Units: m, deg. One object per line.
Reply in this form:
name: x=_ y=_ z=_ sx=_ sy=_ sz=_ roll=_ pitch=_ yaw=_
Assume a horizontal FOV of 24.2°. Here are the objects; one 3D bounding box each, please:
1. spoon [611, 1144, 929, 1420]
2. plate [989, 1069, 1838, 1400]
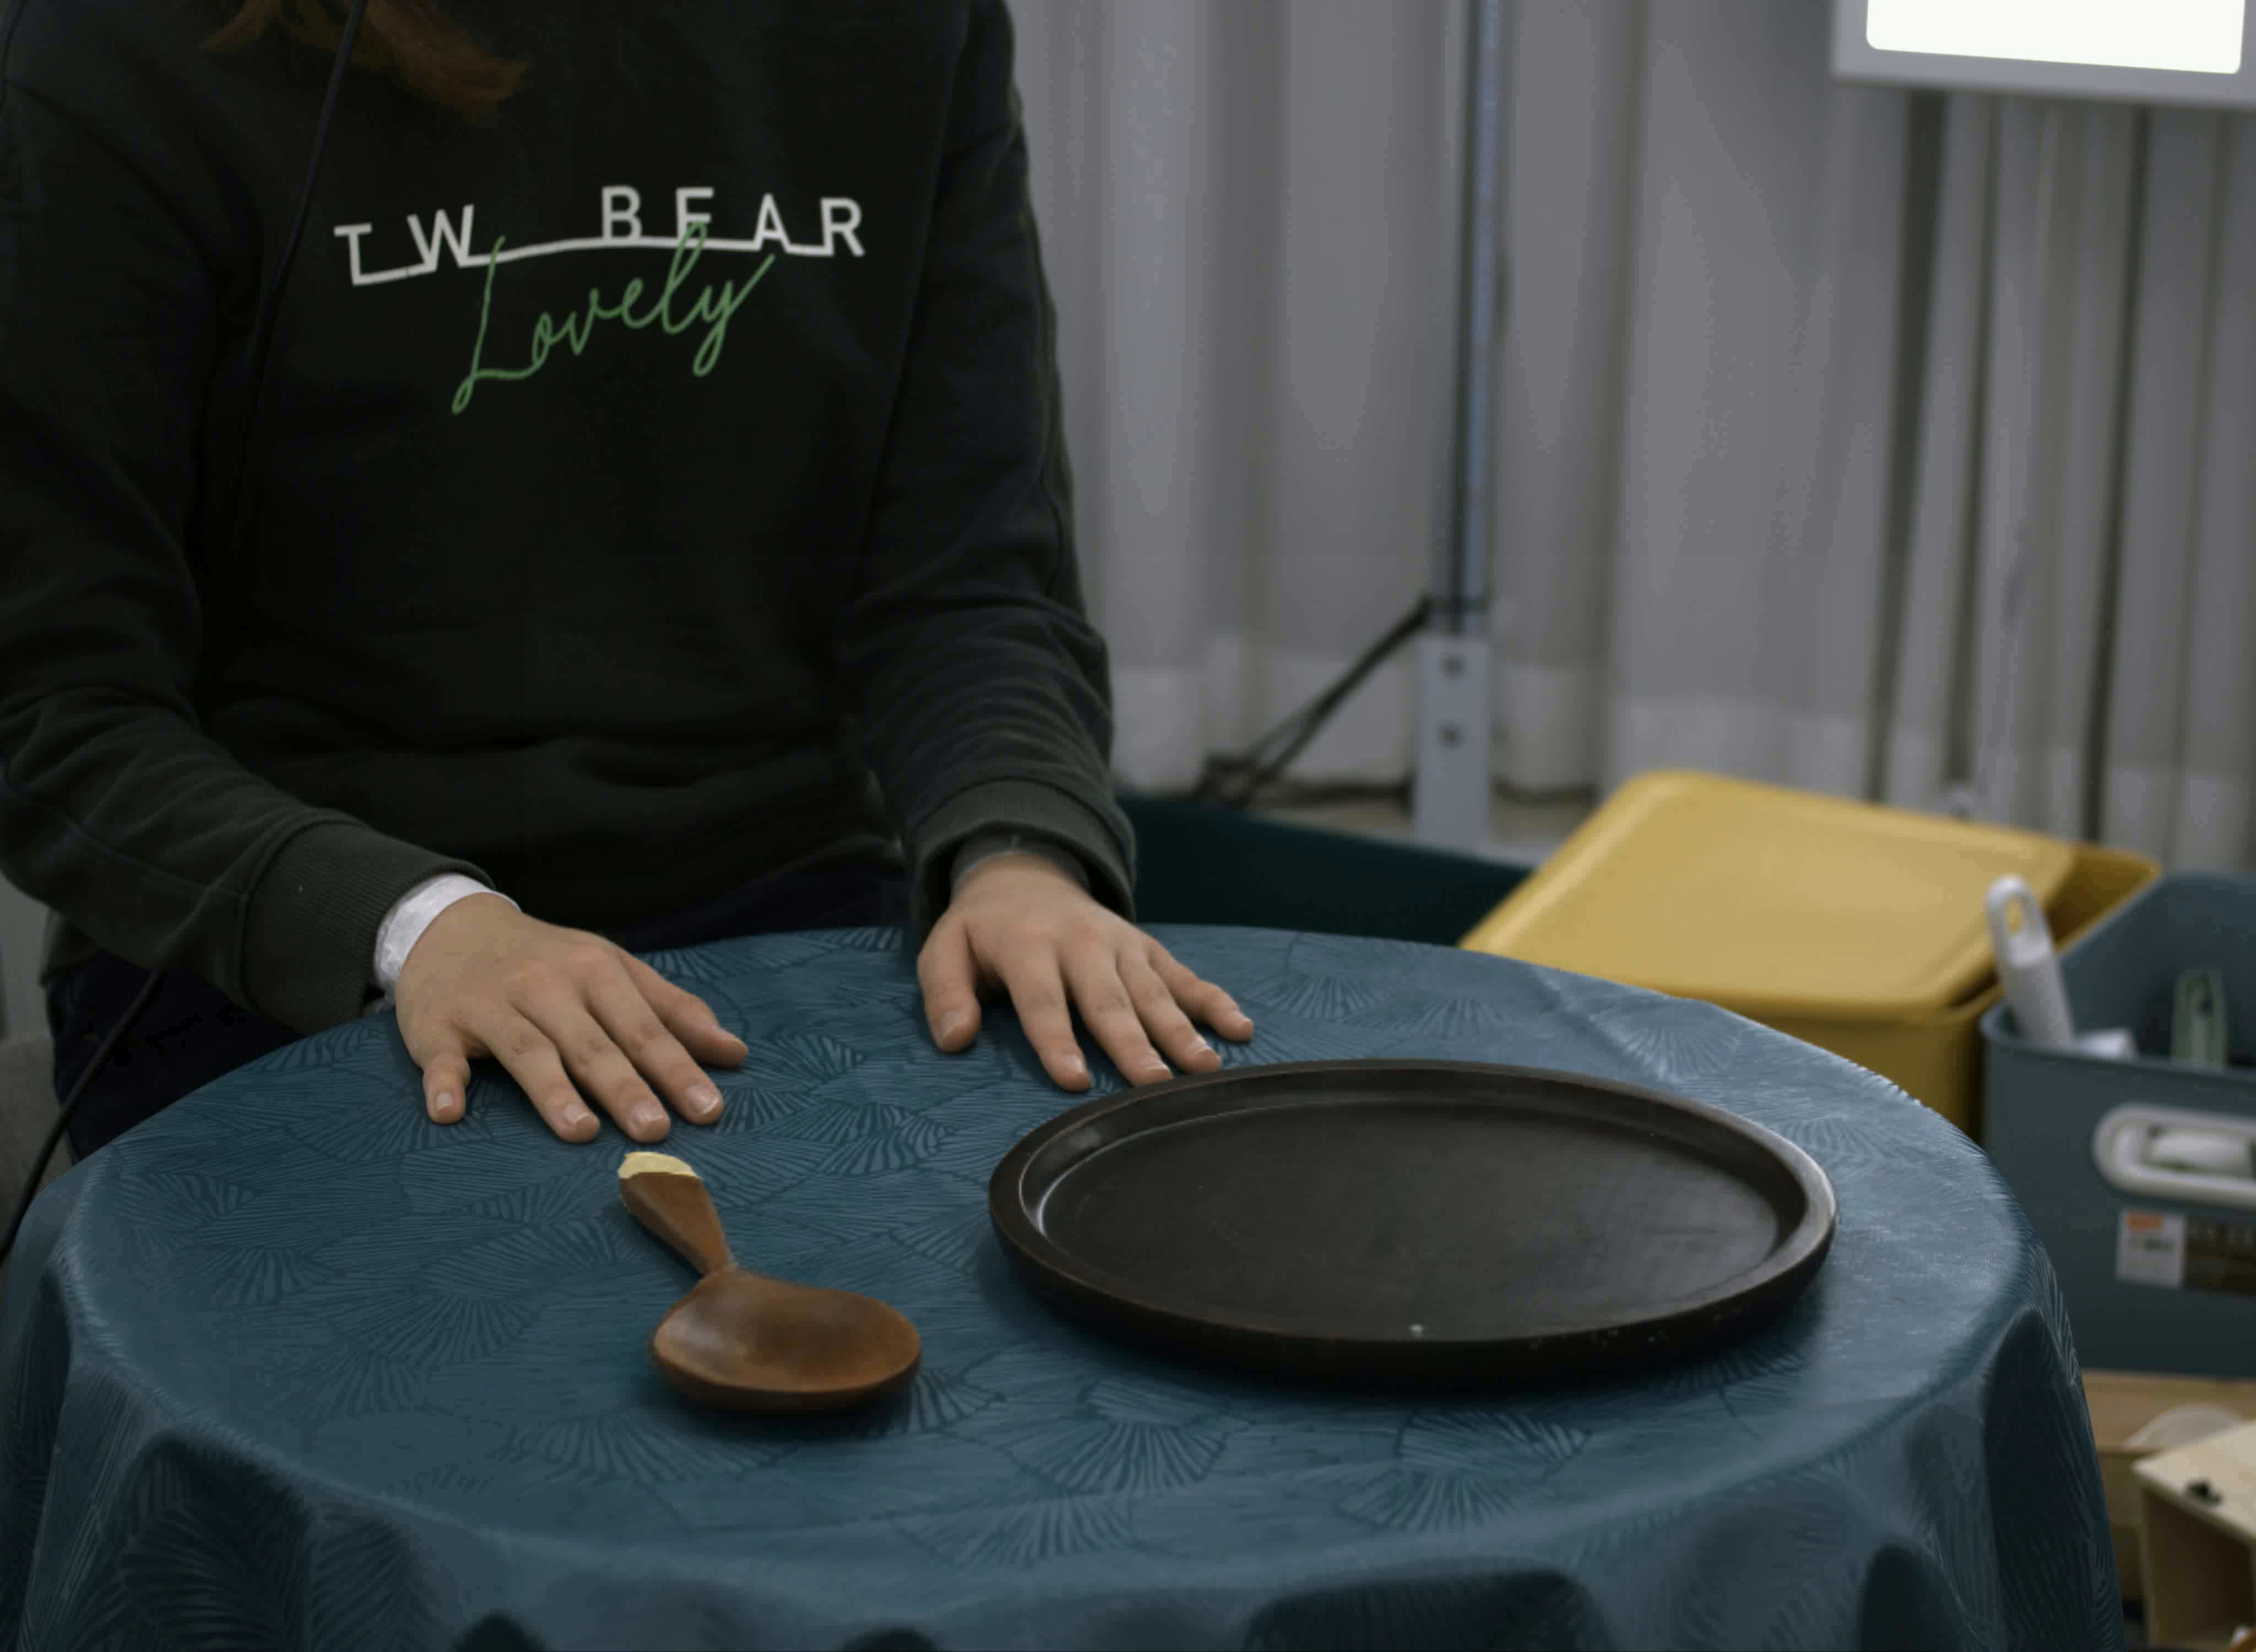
spoon: x=-0.114 y=0.132 z=1.520 sx=0.075 sy=0.017 sz=0.213 roll=-5 pitch=17 yaw=-18
plate: x=0.085 y=0.118 z=1.570 sx=0.254 sy=0.029 sz=0.253 roll=2 pitch=17 yaw=0
